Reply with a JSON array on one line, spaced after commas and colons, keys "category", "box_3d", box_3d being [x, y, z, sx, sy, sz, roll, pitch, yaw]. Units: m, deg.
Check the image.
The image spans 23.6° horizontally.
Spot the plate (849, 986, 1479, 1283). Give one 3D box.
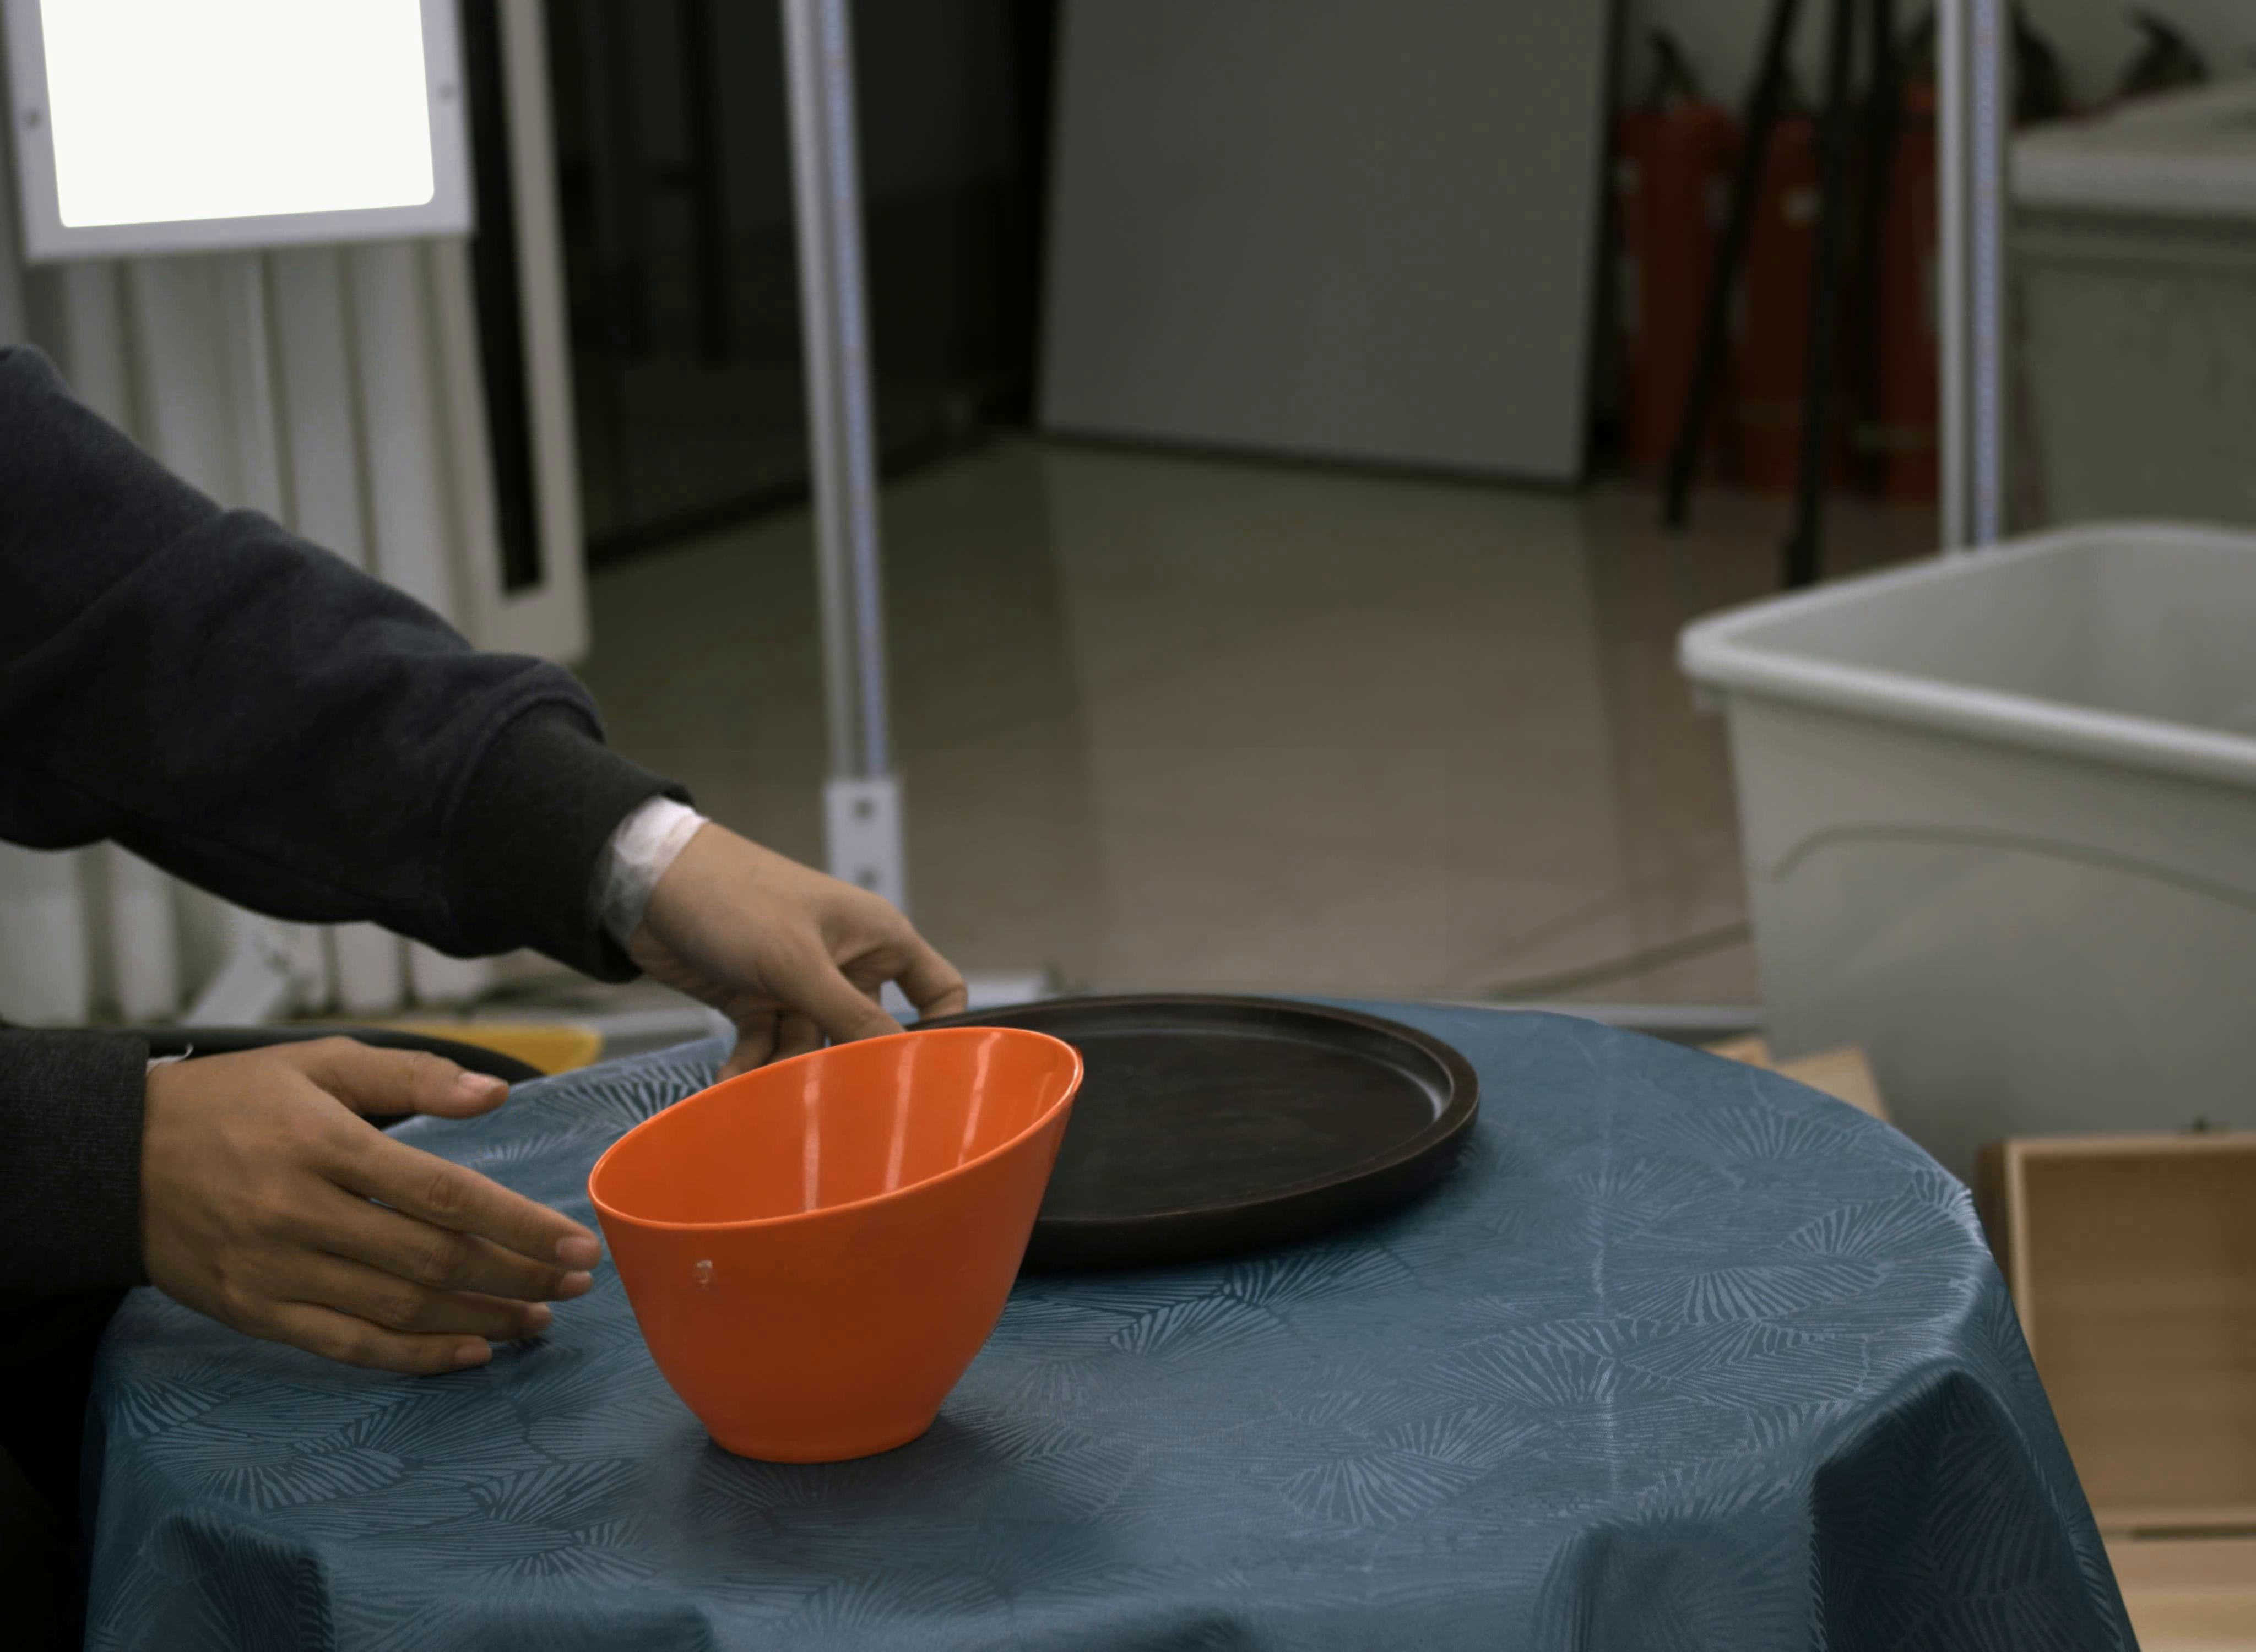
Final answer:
[{"category": "plate", "box_3d": [-0.008, 0.103, 1.798, 0.251, 0.029, 0.255, -4, 15, 0]}]

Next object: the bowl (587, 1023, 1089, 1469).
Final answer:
[{"category": "bowl", "box_3d": [-0.081, 0.124, 1.562, 0.146, 0.106, 0.148, -3, 15, 0]}]
